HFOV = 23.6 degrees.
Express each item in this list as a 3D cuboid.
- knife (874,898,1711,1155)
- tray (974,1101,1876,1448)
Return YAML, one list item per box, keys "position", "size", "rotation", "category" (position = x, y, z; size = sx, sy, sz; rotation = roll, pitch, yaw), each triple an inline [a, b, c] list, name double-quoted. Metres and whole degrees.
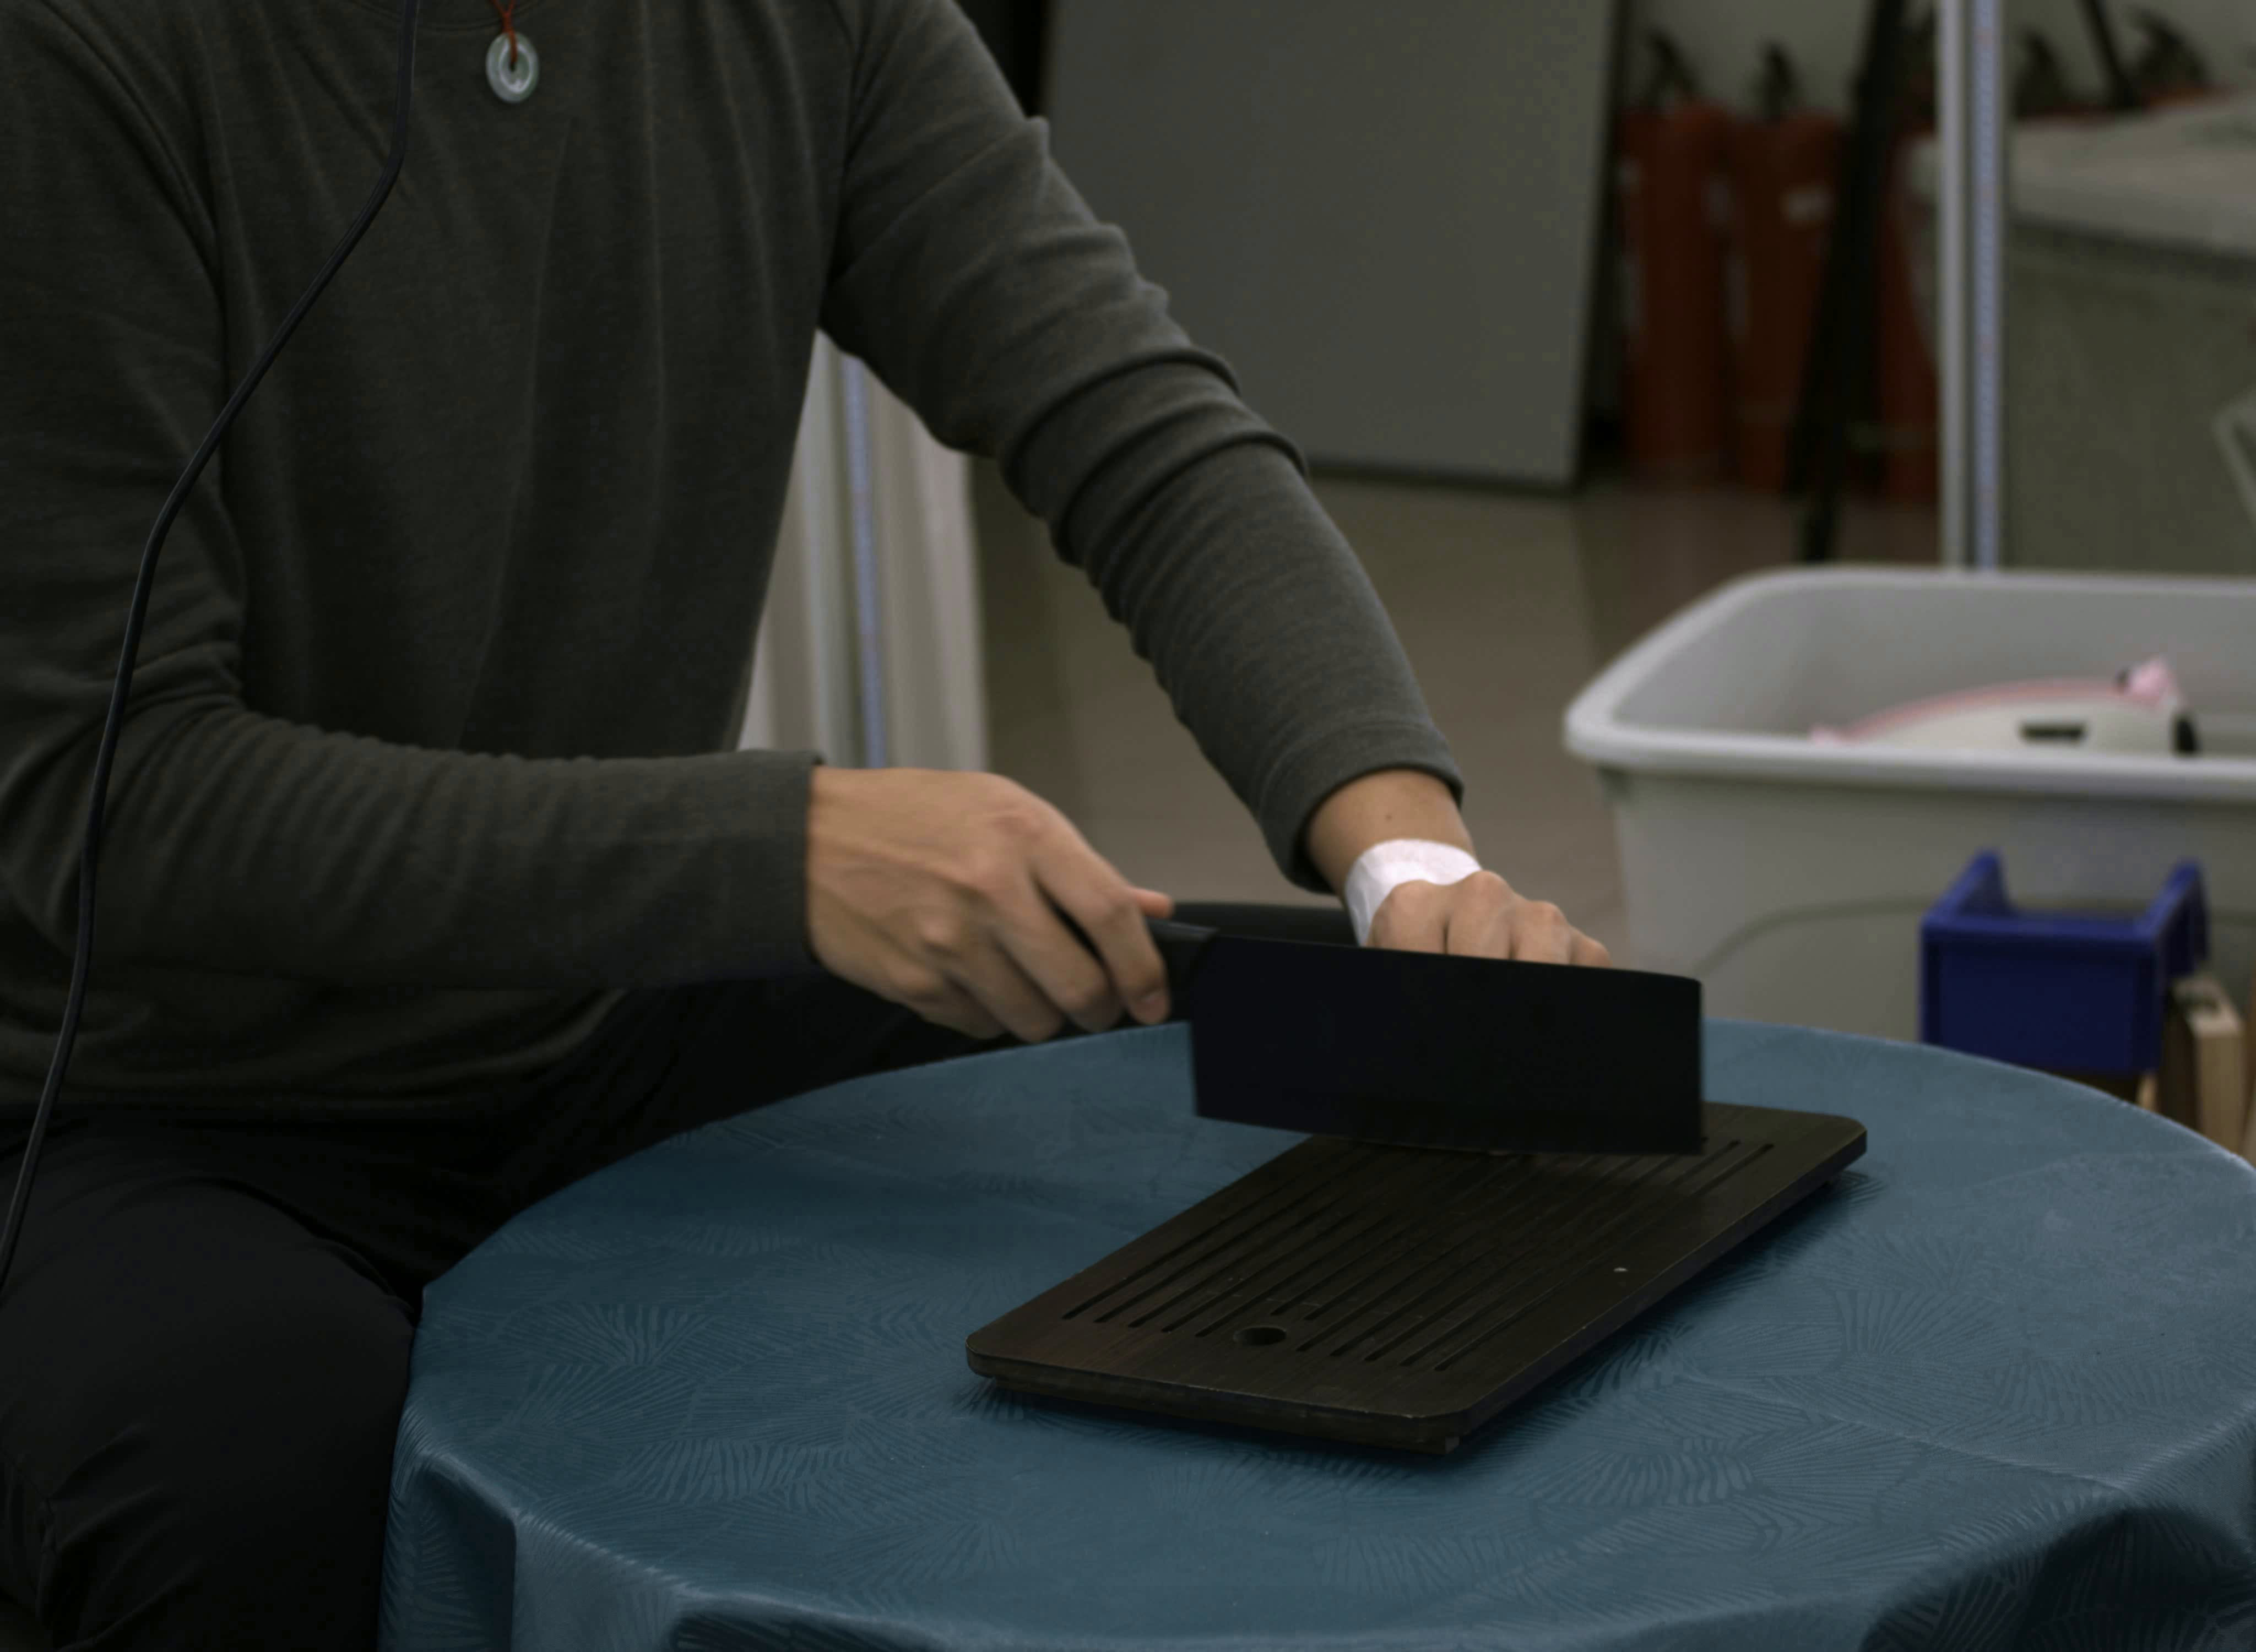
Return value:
- position: [0.050, 0.063, 1.753]
  size: [0.303, 0.082, 0.020]
  rotation: [9, 17, 27]
  category: "knife"
- position: [0.098, 0.132, 1.662]
  size: [0.171, 0.019, 0.301]
  rotation: [3, 15, 32]
  category: "tray"
